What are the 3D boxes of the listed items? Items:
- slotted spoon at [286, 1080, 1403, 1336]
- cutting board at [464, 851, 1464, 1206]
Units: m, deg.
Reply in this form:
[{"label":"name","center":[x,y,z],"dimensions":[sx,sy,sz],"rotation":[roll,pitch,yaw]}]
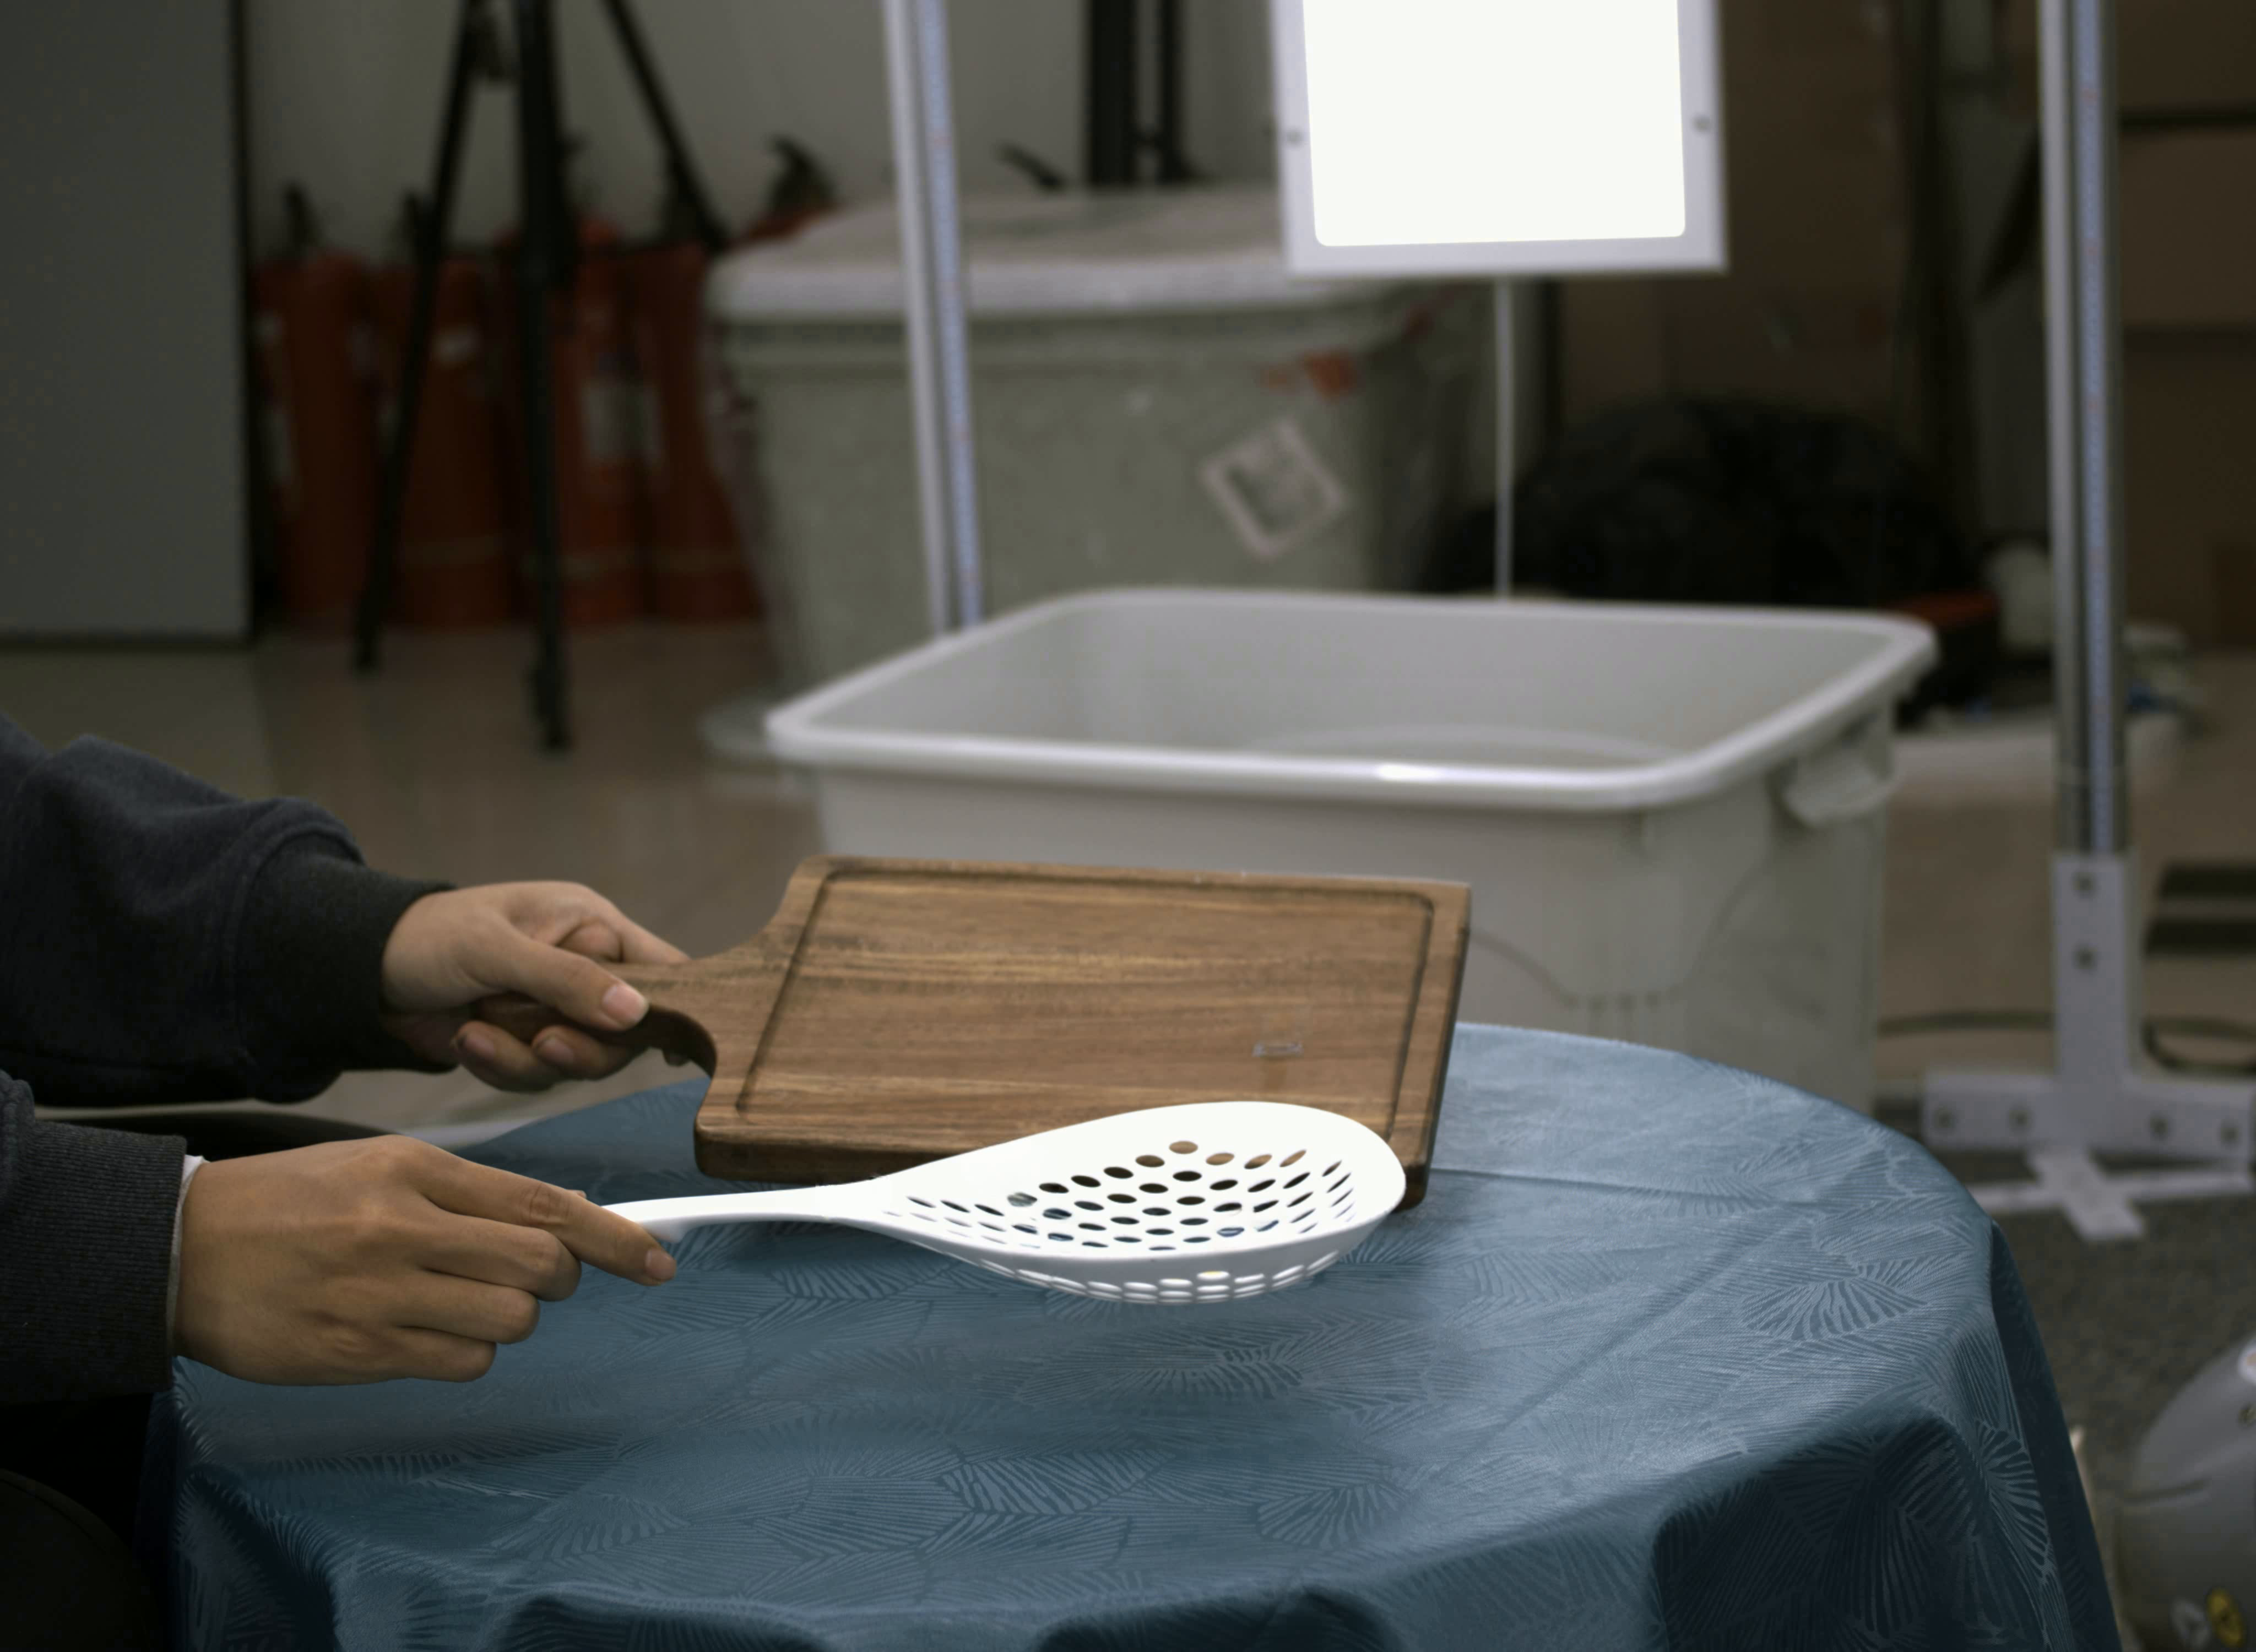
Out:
[{"label":"slotted spoon","center":[-0.087,0.126,1.714],"dimensions":[0.346,0.050,0.137],"rotation":[-1,17,-3]},{"label":"cutting board","center":[-0.061,0.066,1.938],"dimensions":[0.354,0.023,0.199],"rotation":[2,29,10]}]
